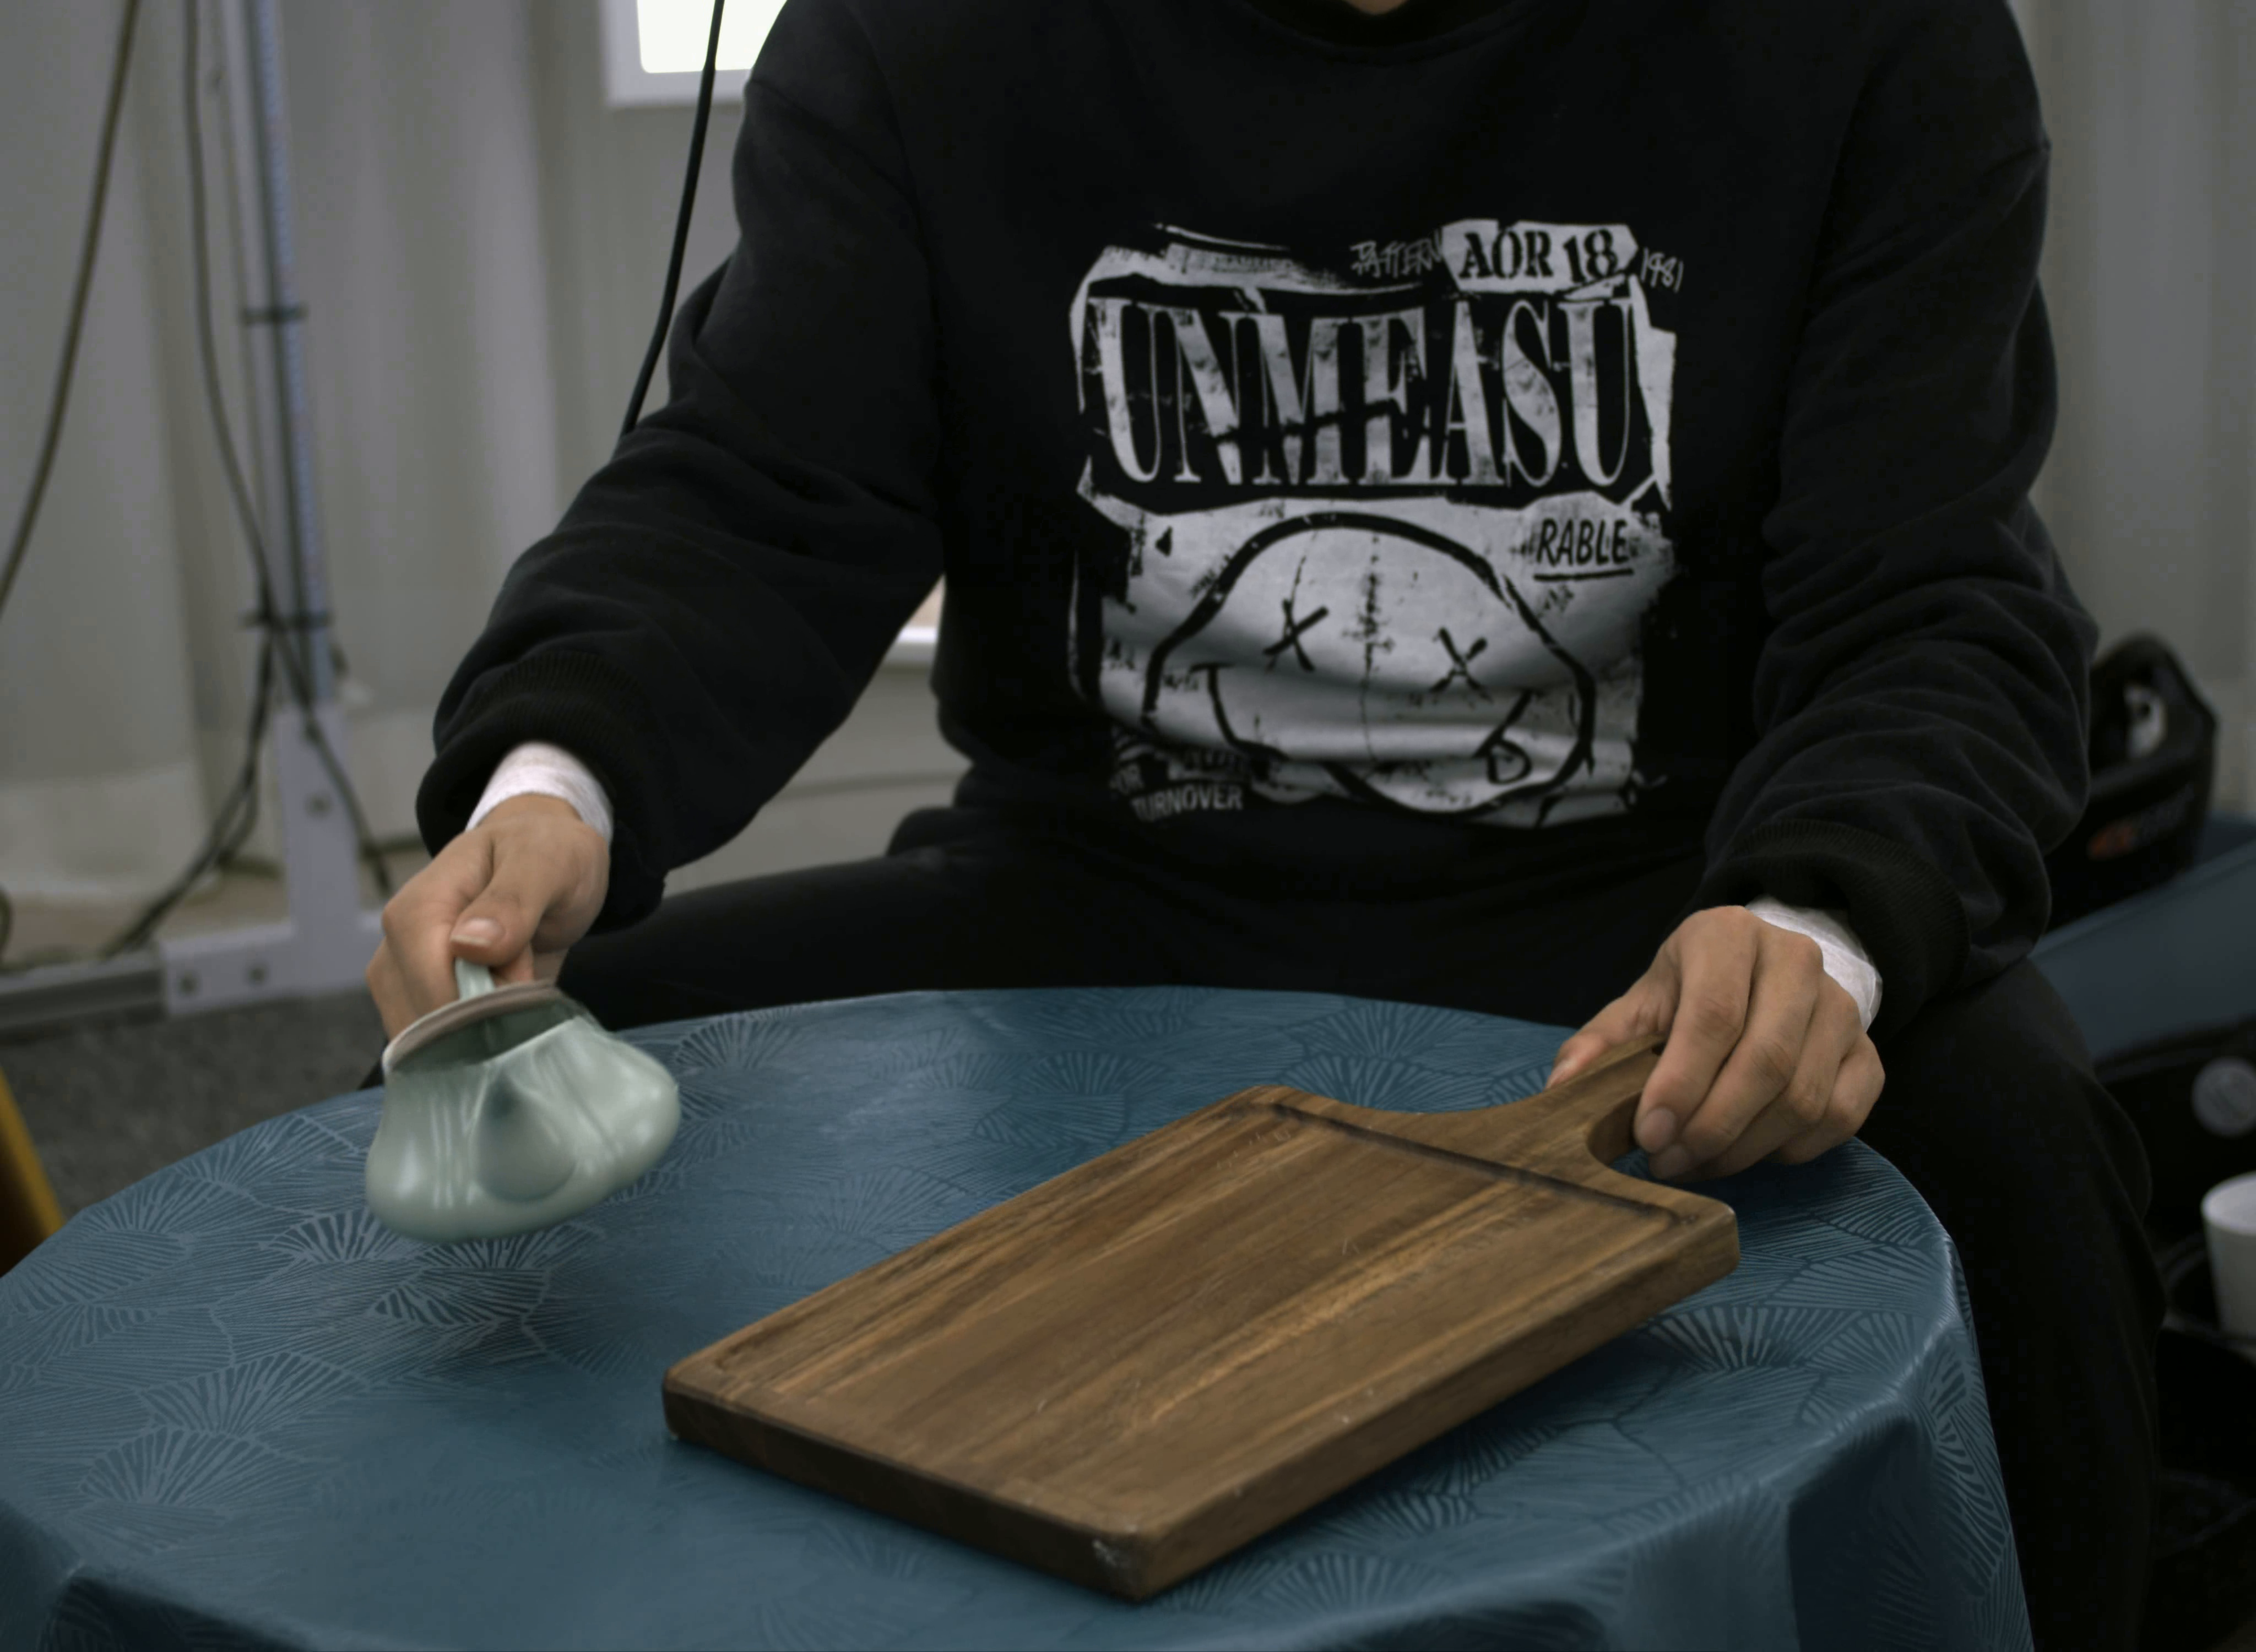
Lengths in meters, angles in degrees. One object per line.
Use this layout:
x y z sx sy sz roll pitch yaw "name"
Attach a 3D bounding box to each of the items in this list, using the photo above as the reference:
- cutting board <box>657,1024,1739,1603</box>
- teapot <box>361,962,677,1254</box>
0.055 0.124 1.569 0.202 0.023 0.352 12 26 43 "cutting board"
-0.183 0.084 1.608 0.096 0.061 0.138 -20 20 -7 "teapot"
